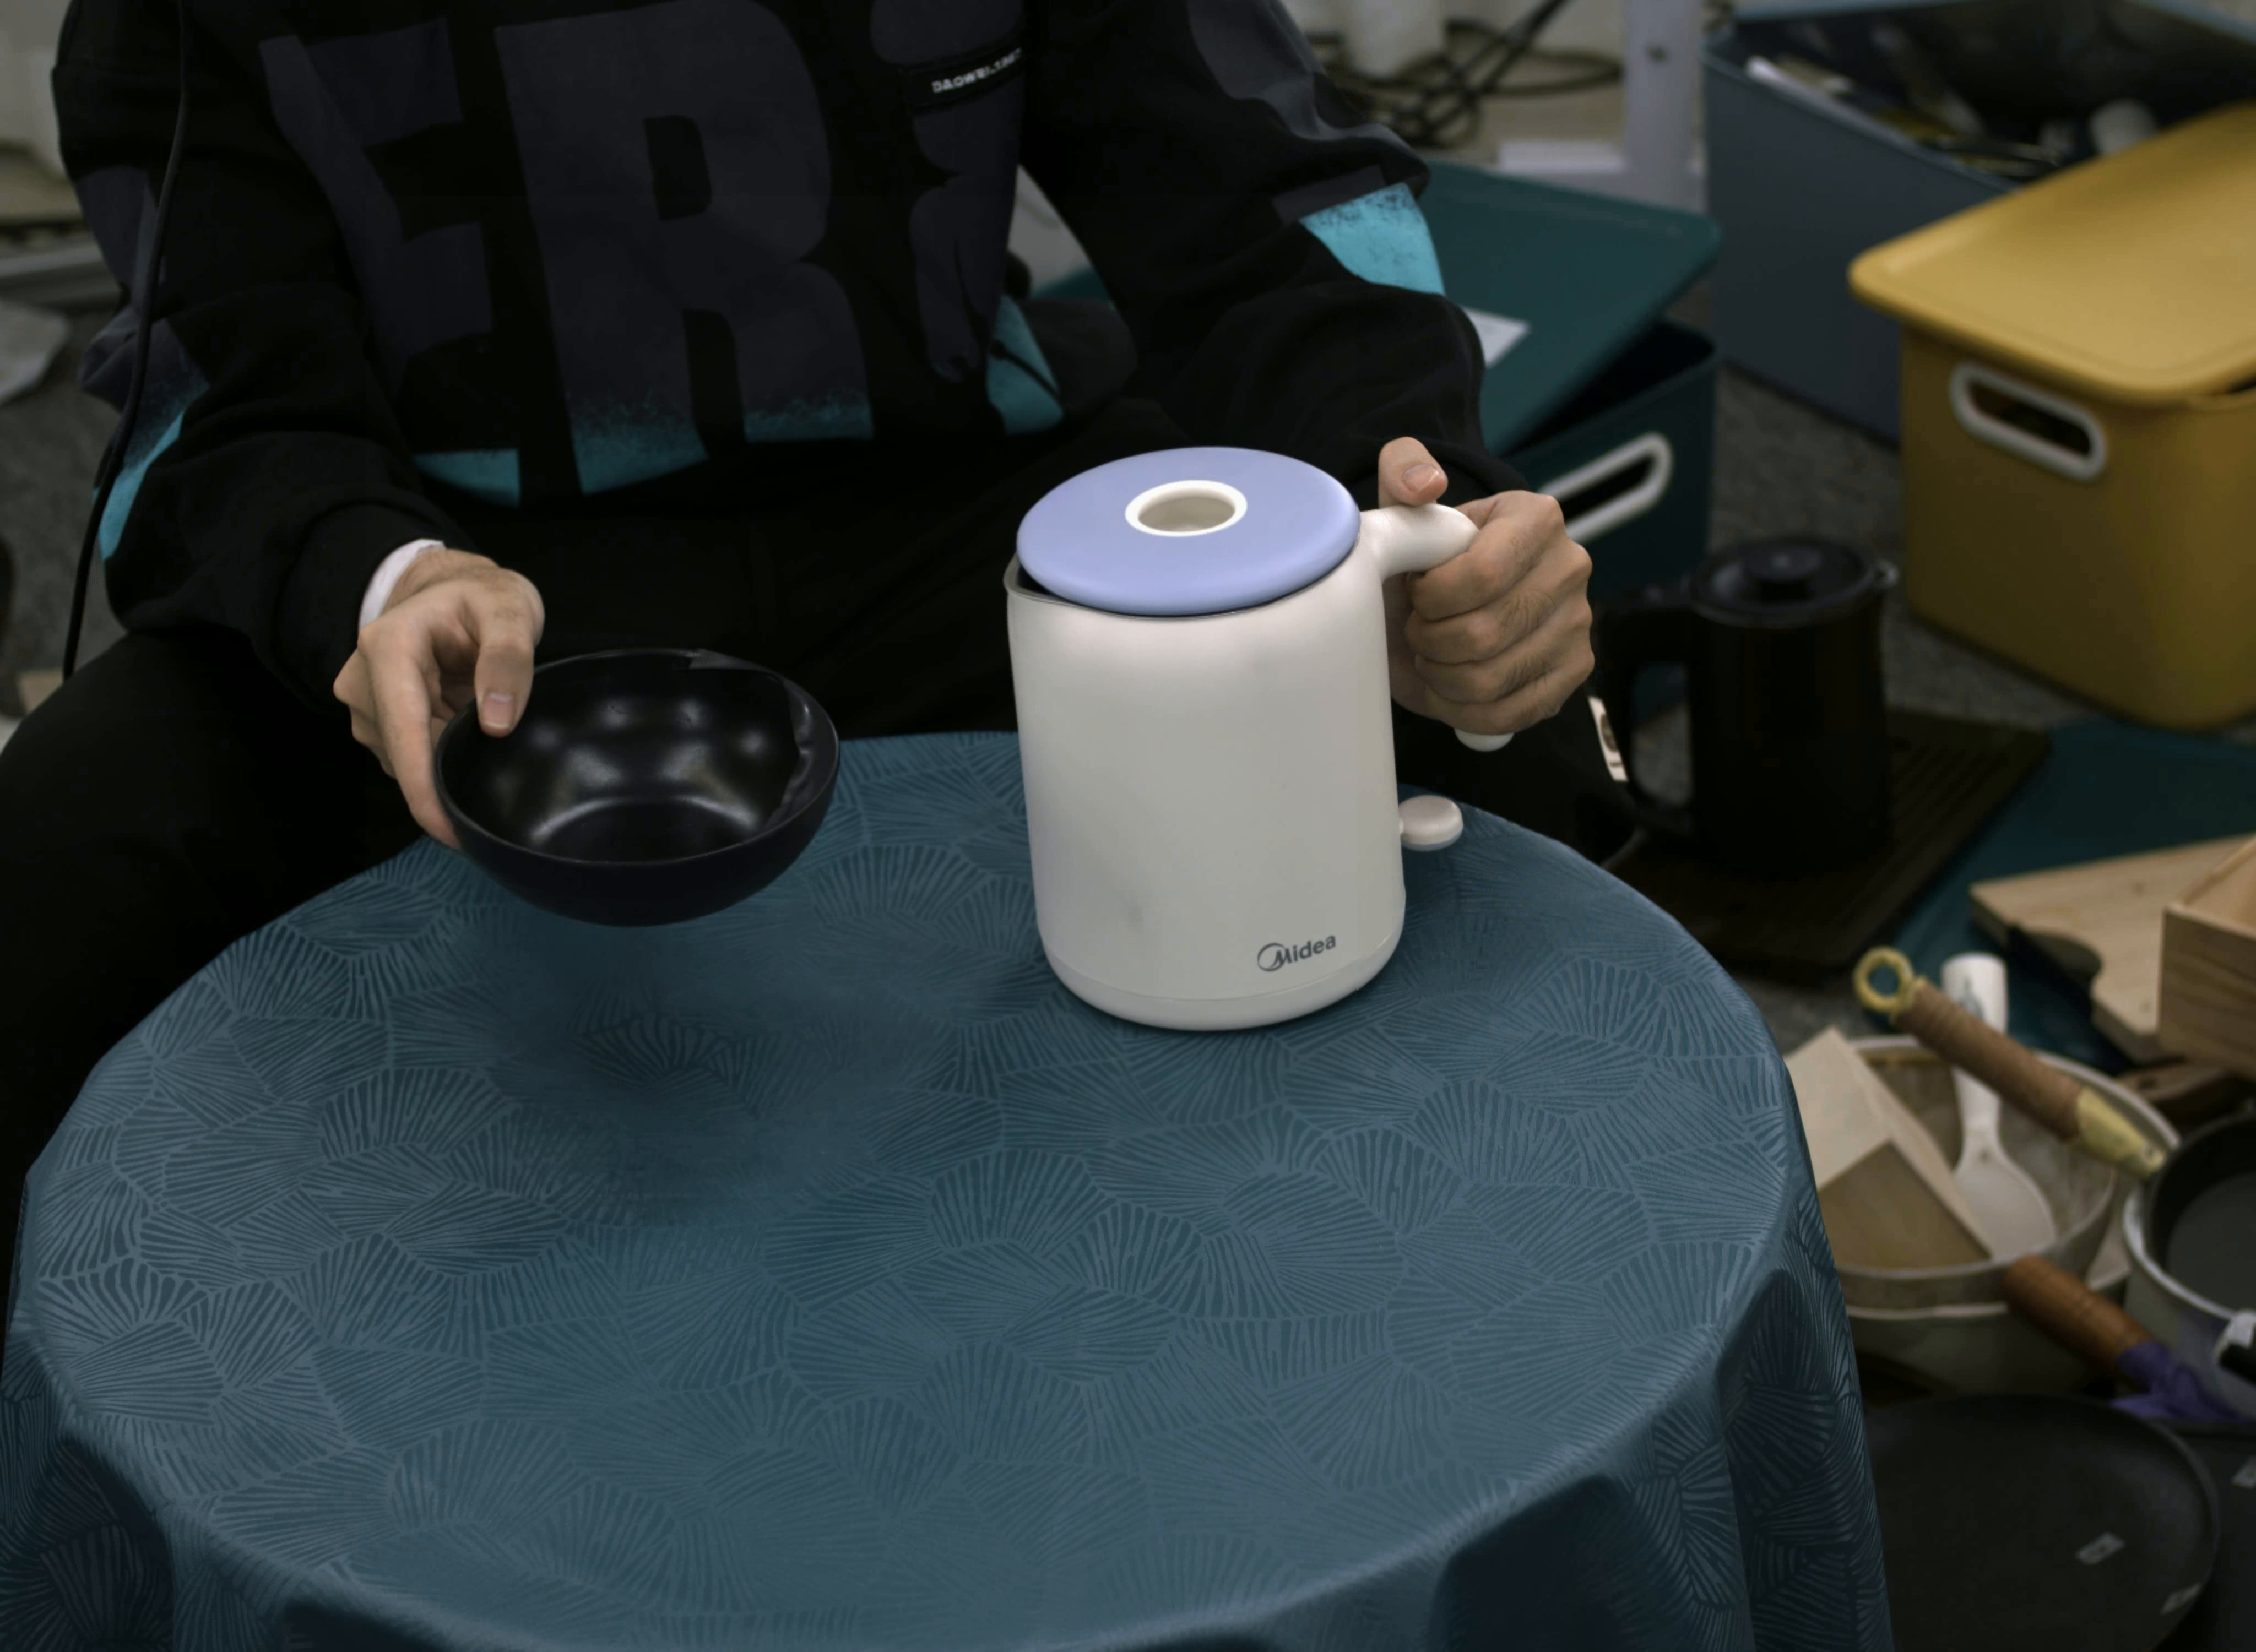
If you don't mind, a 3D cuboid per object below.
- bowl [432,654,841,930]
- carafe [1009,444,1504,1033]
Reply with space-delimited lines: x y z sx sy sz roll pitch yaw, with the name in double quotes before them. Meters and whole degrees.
"bowl" -0.166 -0.004 1.917 0.139 0.049 0.142 -1 30 1
"carafe" 0.048 -0.037 1.973 0.192 0.180 0.133 -14 30 -23
